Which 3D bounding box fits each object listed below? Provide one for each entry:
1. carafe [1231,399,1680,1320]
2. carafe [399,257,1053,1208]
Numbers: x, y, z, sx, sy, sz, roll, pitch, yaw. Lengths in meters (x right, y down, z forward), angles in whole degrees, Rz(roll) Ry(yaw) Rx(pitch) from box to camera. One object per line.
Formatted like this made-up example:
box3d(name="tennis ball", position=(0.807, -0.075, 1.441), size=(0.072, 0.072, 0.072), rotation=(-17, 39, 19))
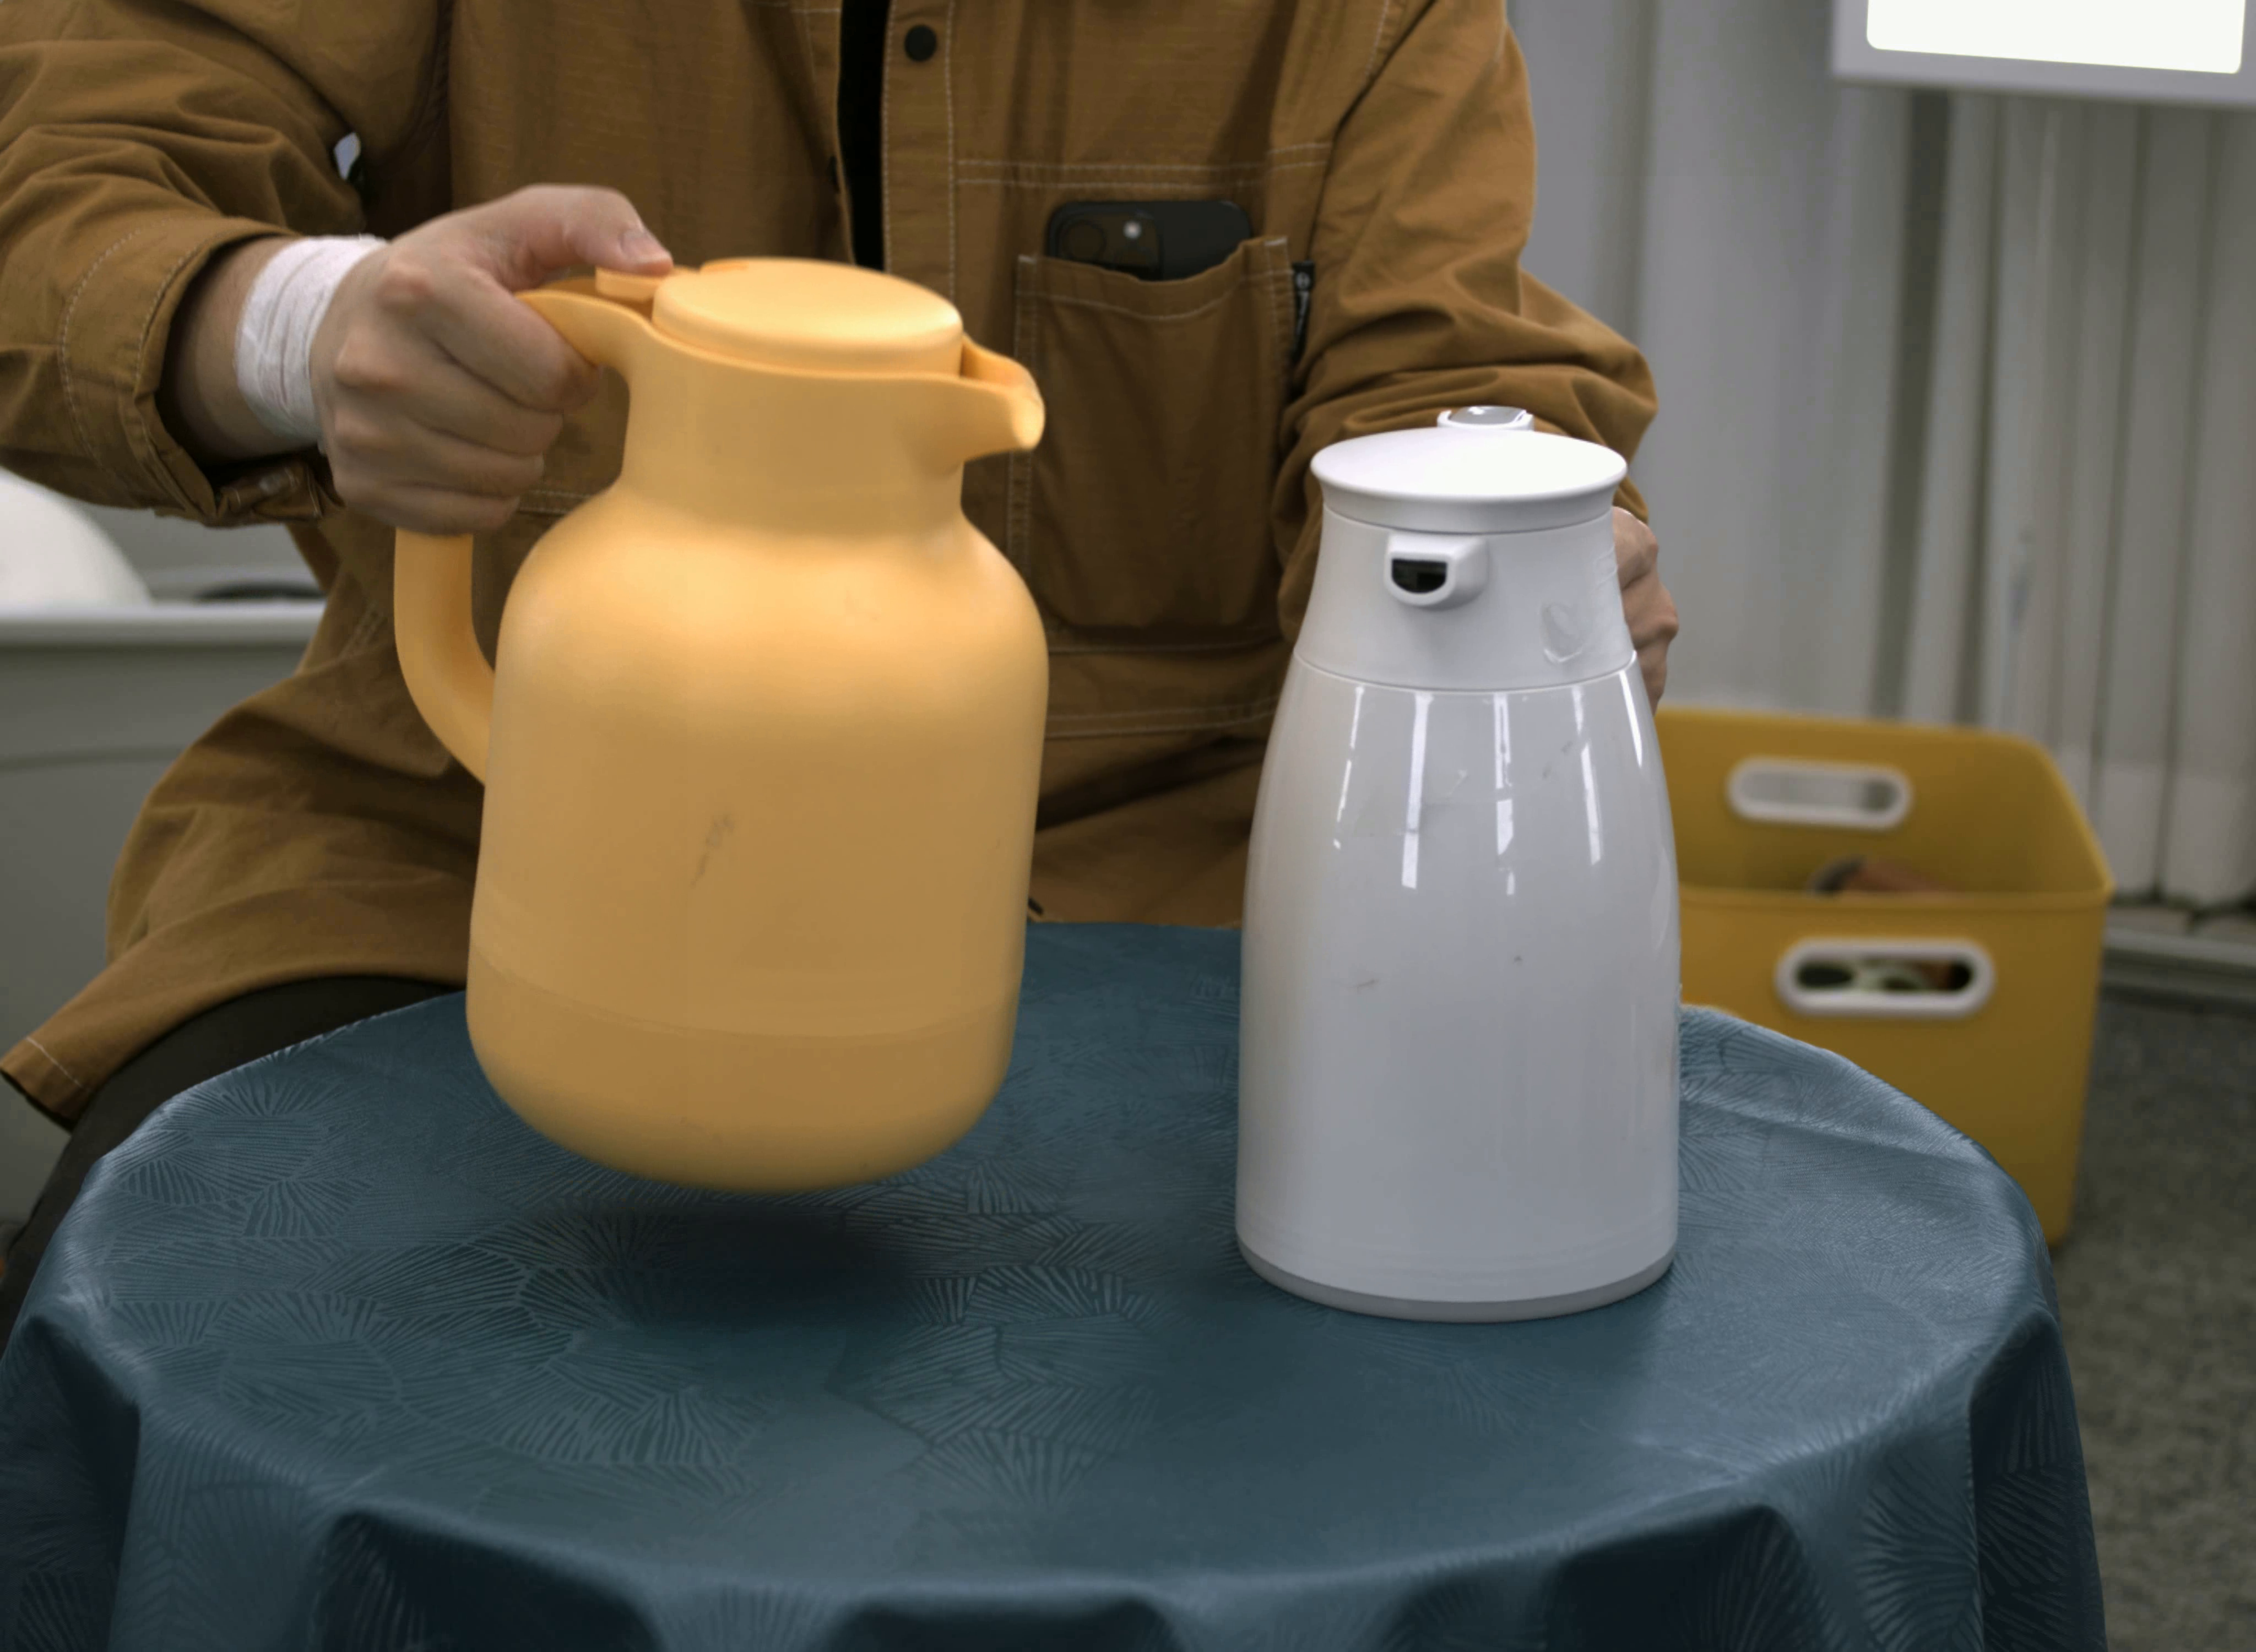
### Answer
box3d(name="carafe", position=(0.102, 0.001, 1.559), size=(0.131, 0.250, 0.167), rotation=(4, 16, 14))
box3d(name="carafe", position=(-0.120, -0.035, 1.529), size=(0.200, 0.262, 0.164), rotation=(15, 18, 21))
